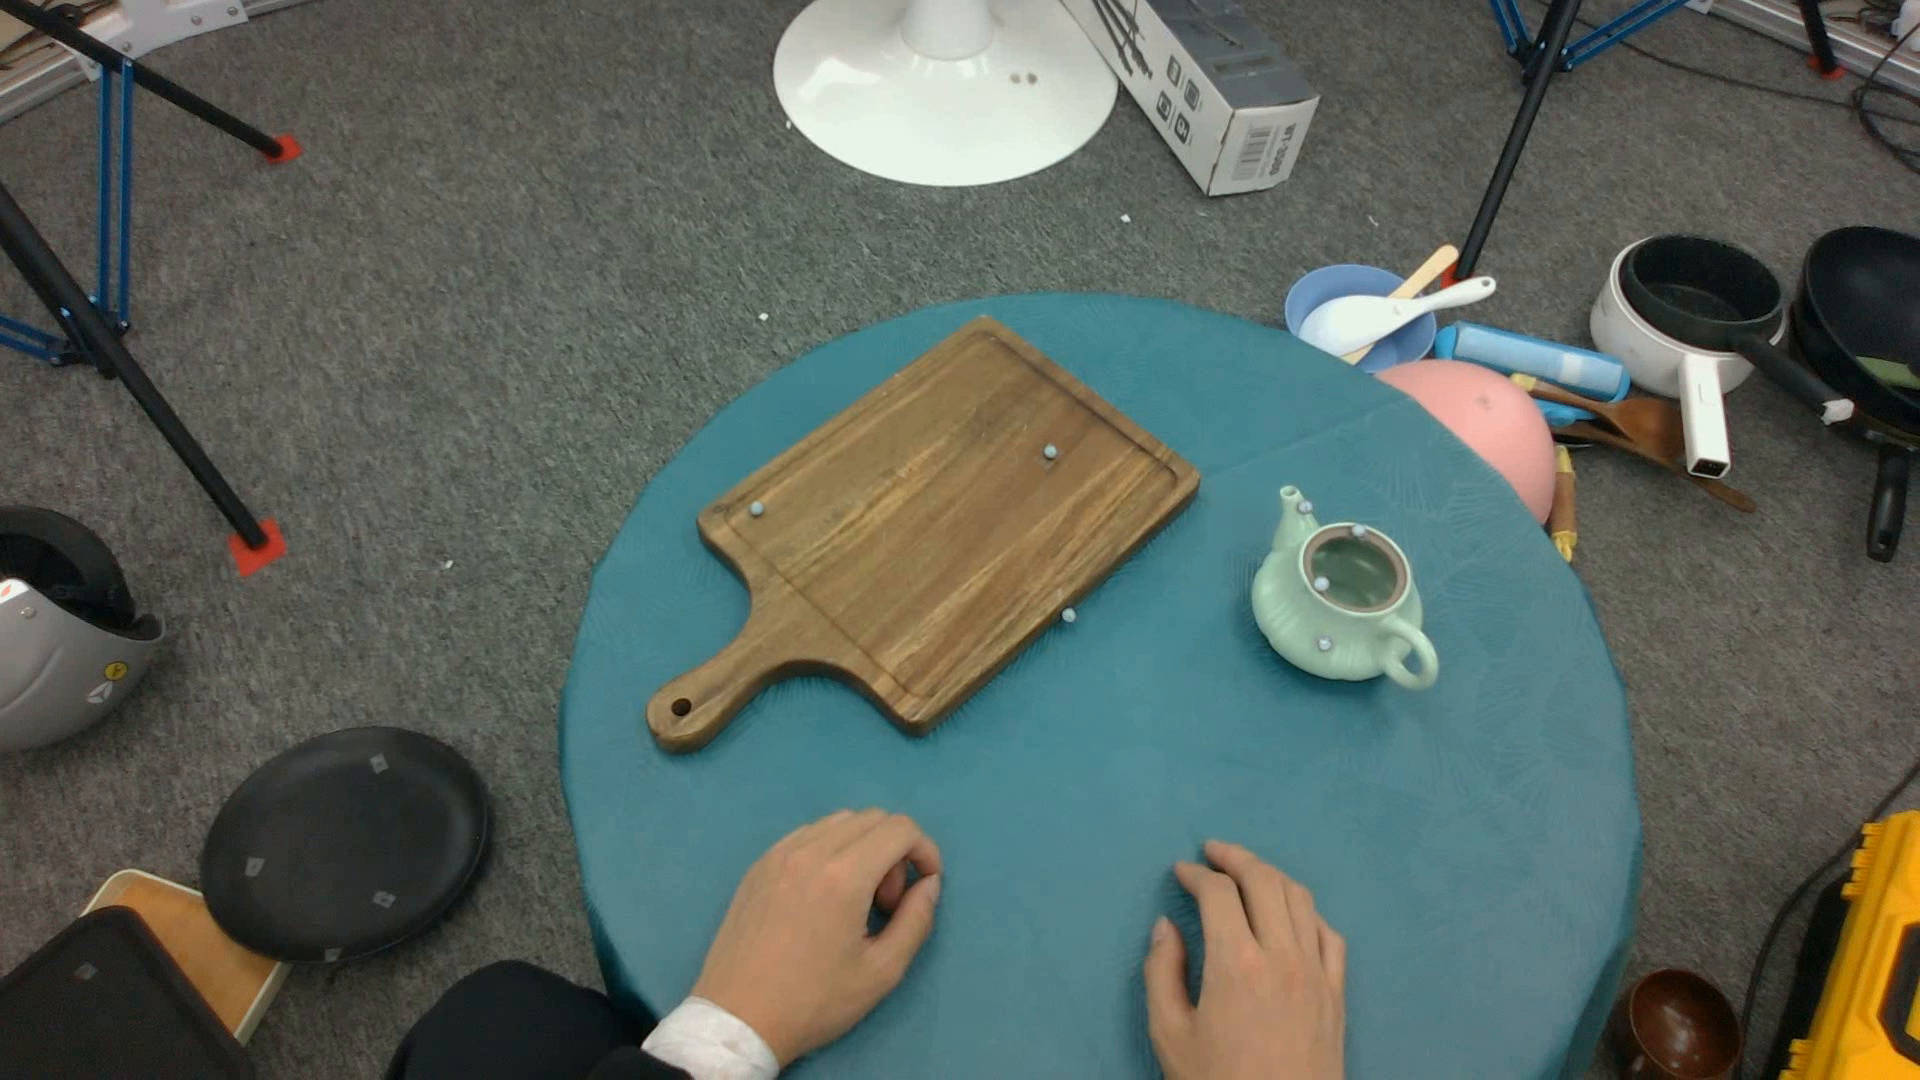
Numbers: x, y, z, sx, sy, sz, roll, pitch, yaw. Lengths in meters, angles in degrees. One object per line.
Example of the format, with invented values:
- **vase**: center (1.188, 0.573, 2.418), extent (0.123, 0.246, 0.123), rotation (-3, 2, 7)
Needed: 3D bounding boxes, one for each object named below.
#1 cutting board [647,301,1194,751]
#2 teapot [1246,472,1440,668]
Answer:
- **cutting board**: center (-0.042, 0.000, 0.812), extent (0.201, 0.023, 0.353), rotation (38, 62, 22)
- **teapot**: center (0.217, 0.024, 0.783), extent (0.096, 0.061, 0.137), rotation (-27, 60, -20)
